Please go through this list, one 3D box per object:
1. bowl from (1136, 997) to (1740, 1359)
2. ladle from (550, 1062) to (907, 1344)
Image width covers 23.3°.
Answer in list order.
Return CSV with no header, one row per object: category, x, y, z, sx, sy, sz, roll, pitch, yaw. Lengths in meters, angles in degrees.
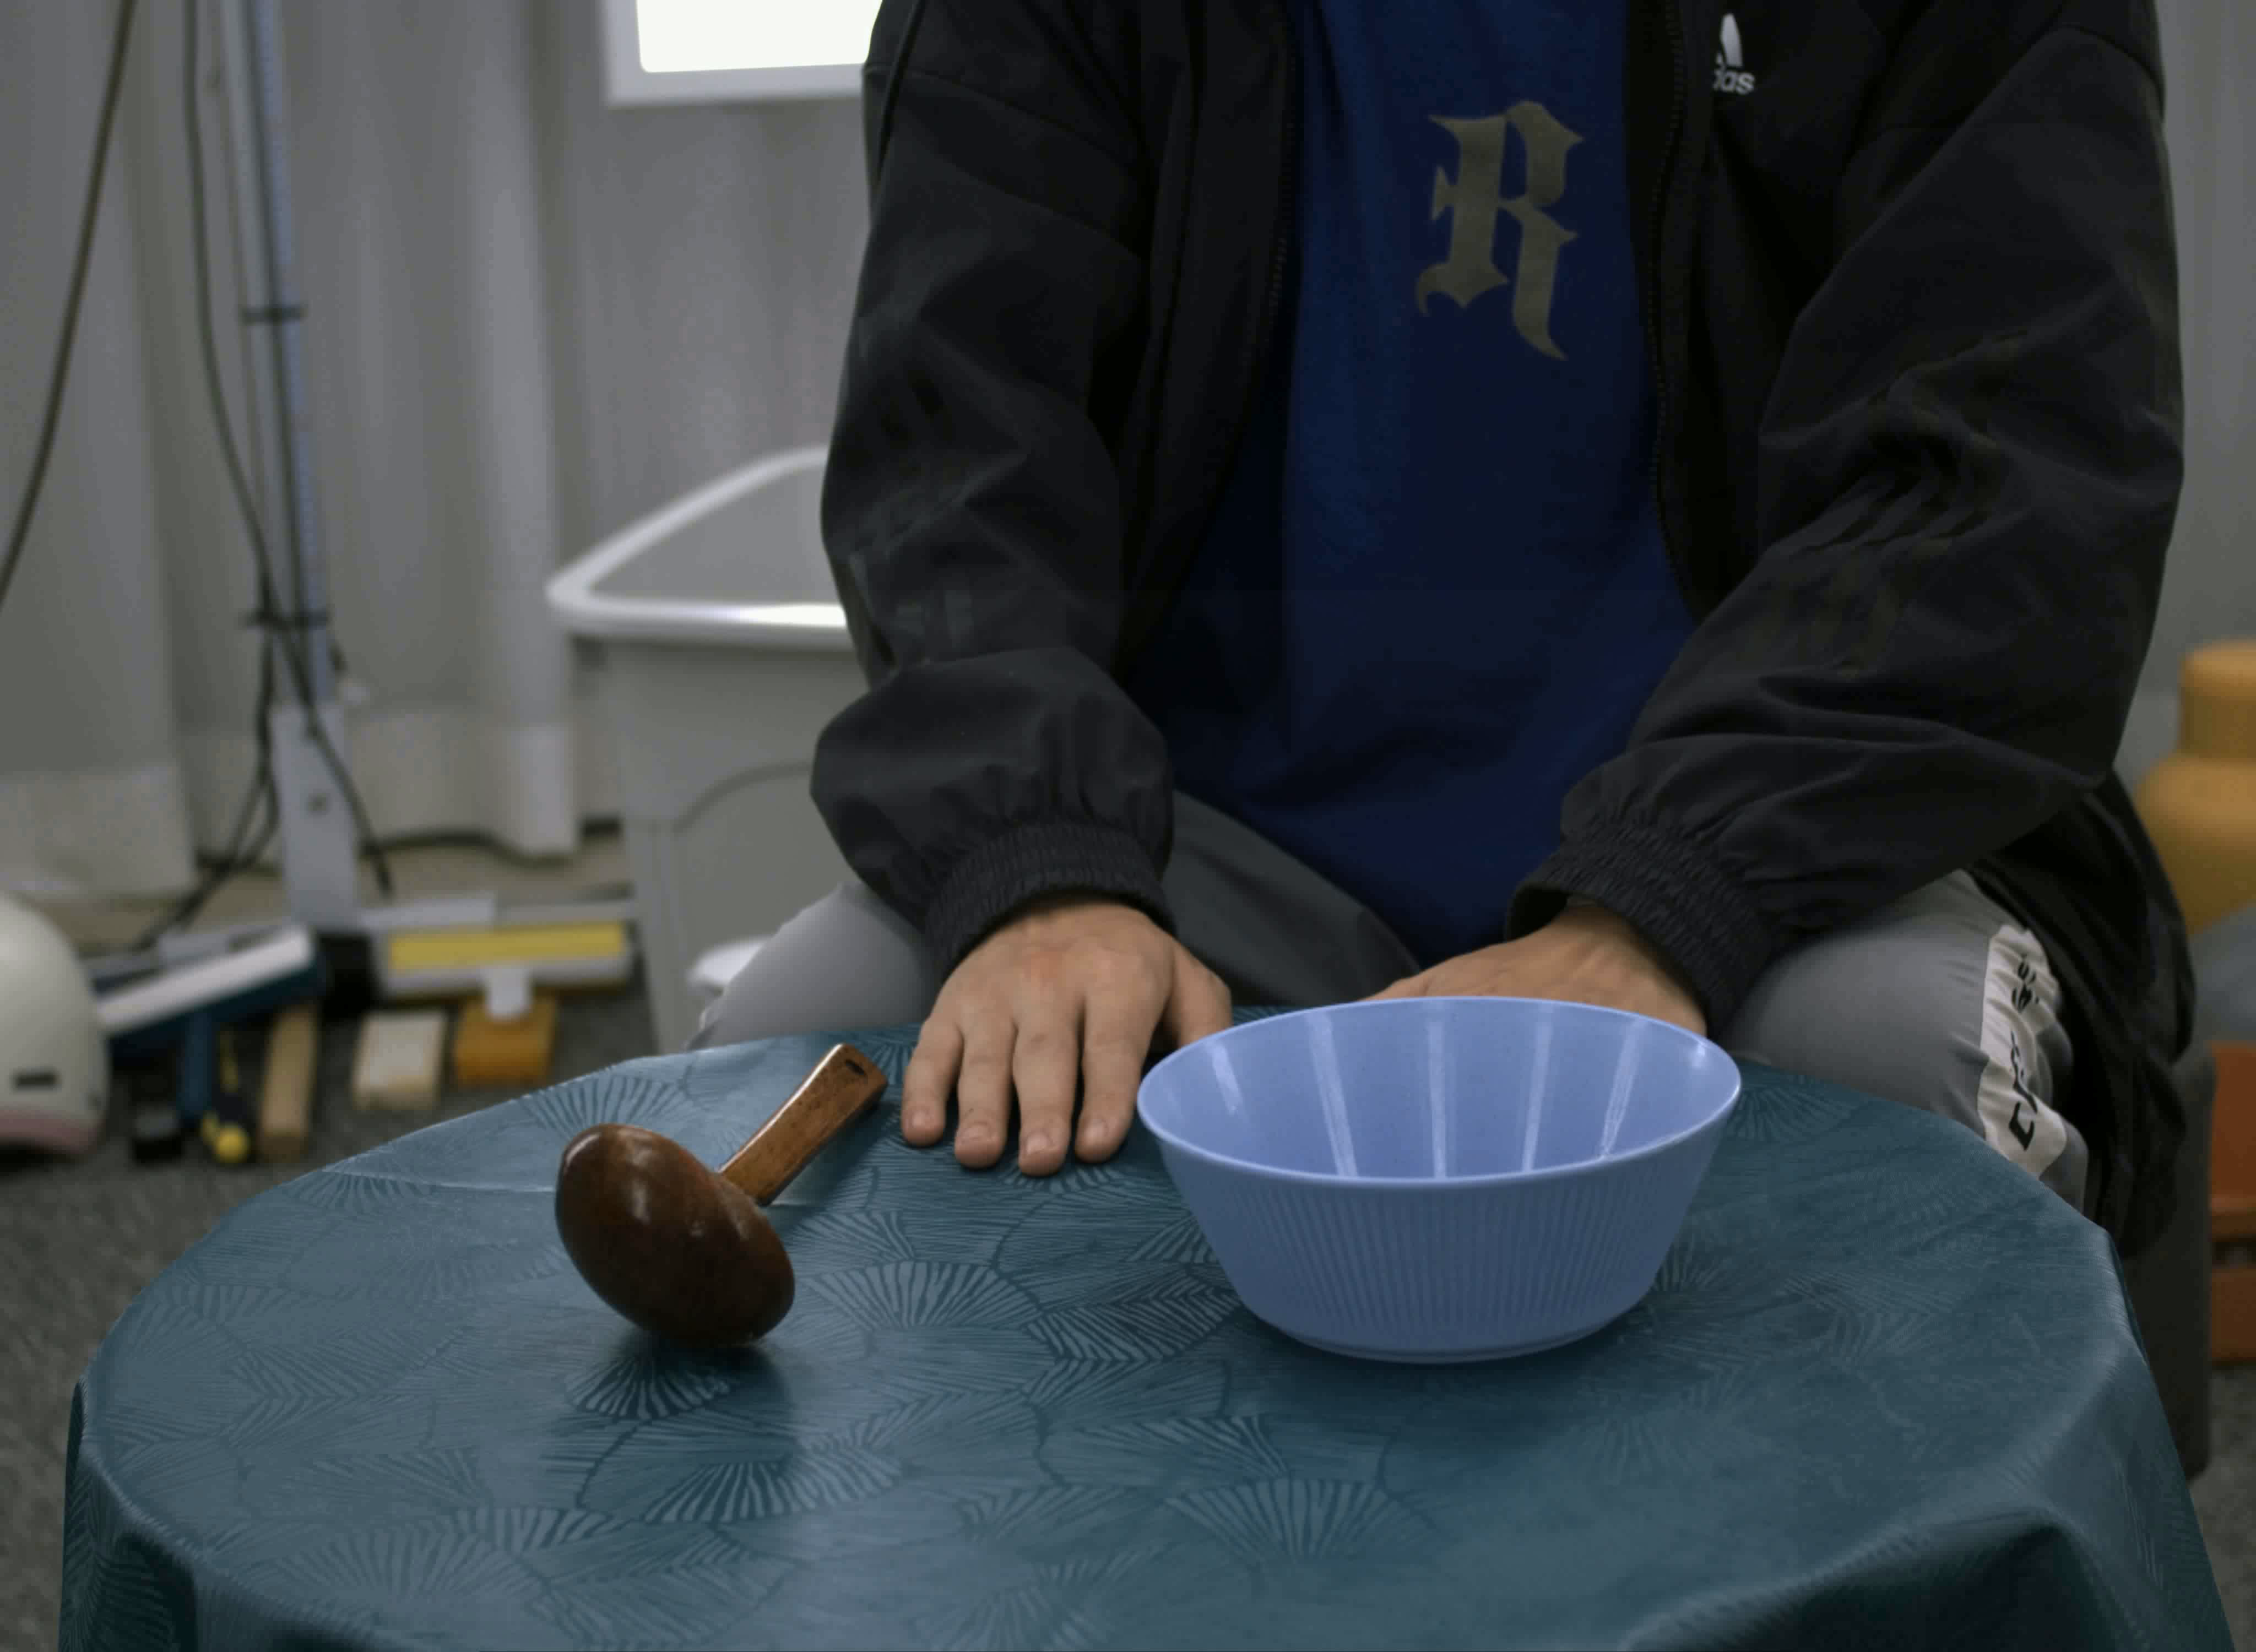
bowl,0.091,0.105,1.594,0.175,0.070,0.177,-2,14,0
ladle,-0.104,0.093,1.678,0.076,0.082,0.275,-46,-3,21
